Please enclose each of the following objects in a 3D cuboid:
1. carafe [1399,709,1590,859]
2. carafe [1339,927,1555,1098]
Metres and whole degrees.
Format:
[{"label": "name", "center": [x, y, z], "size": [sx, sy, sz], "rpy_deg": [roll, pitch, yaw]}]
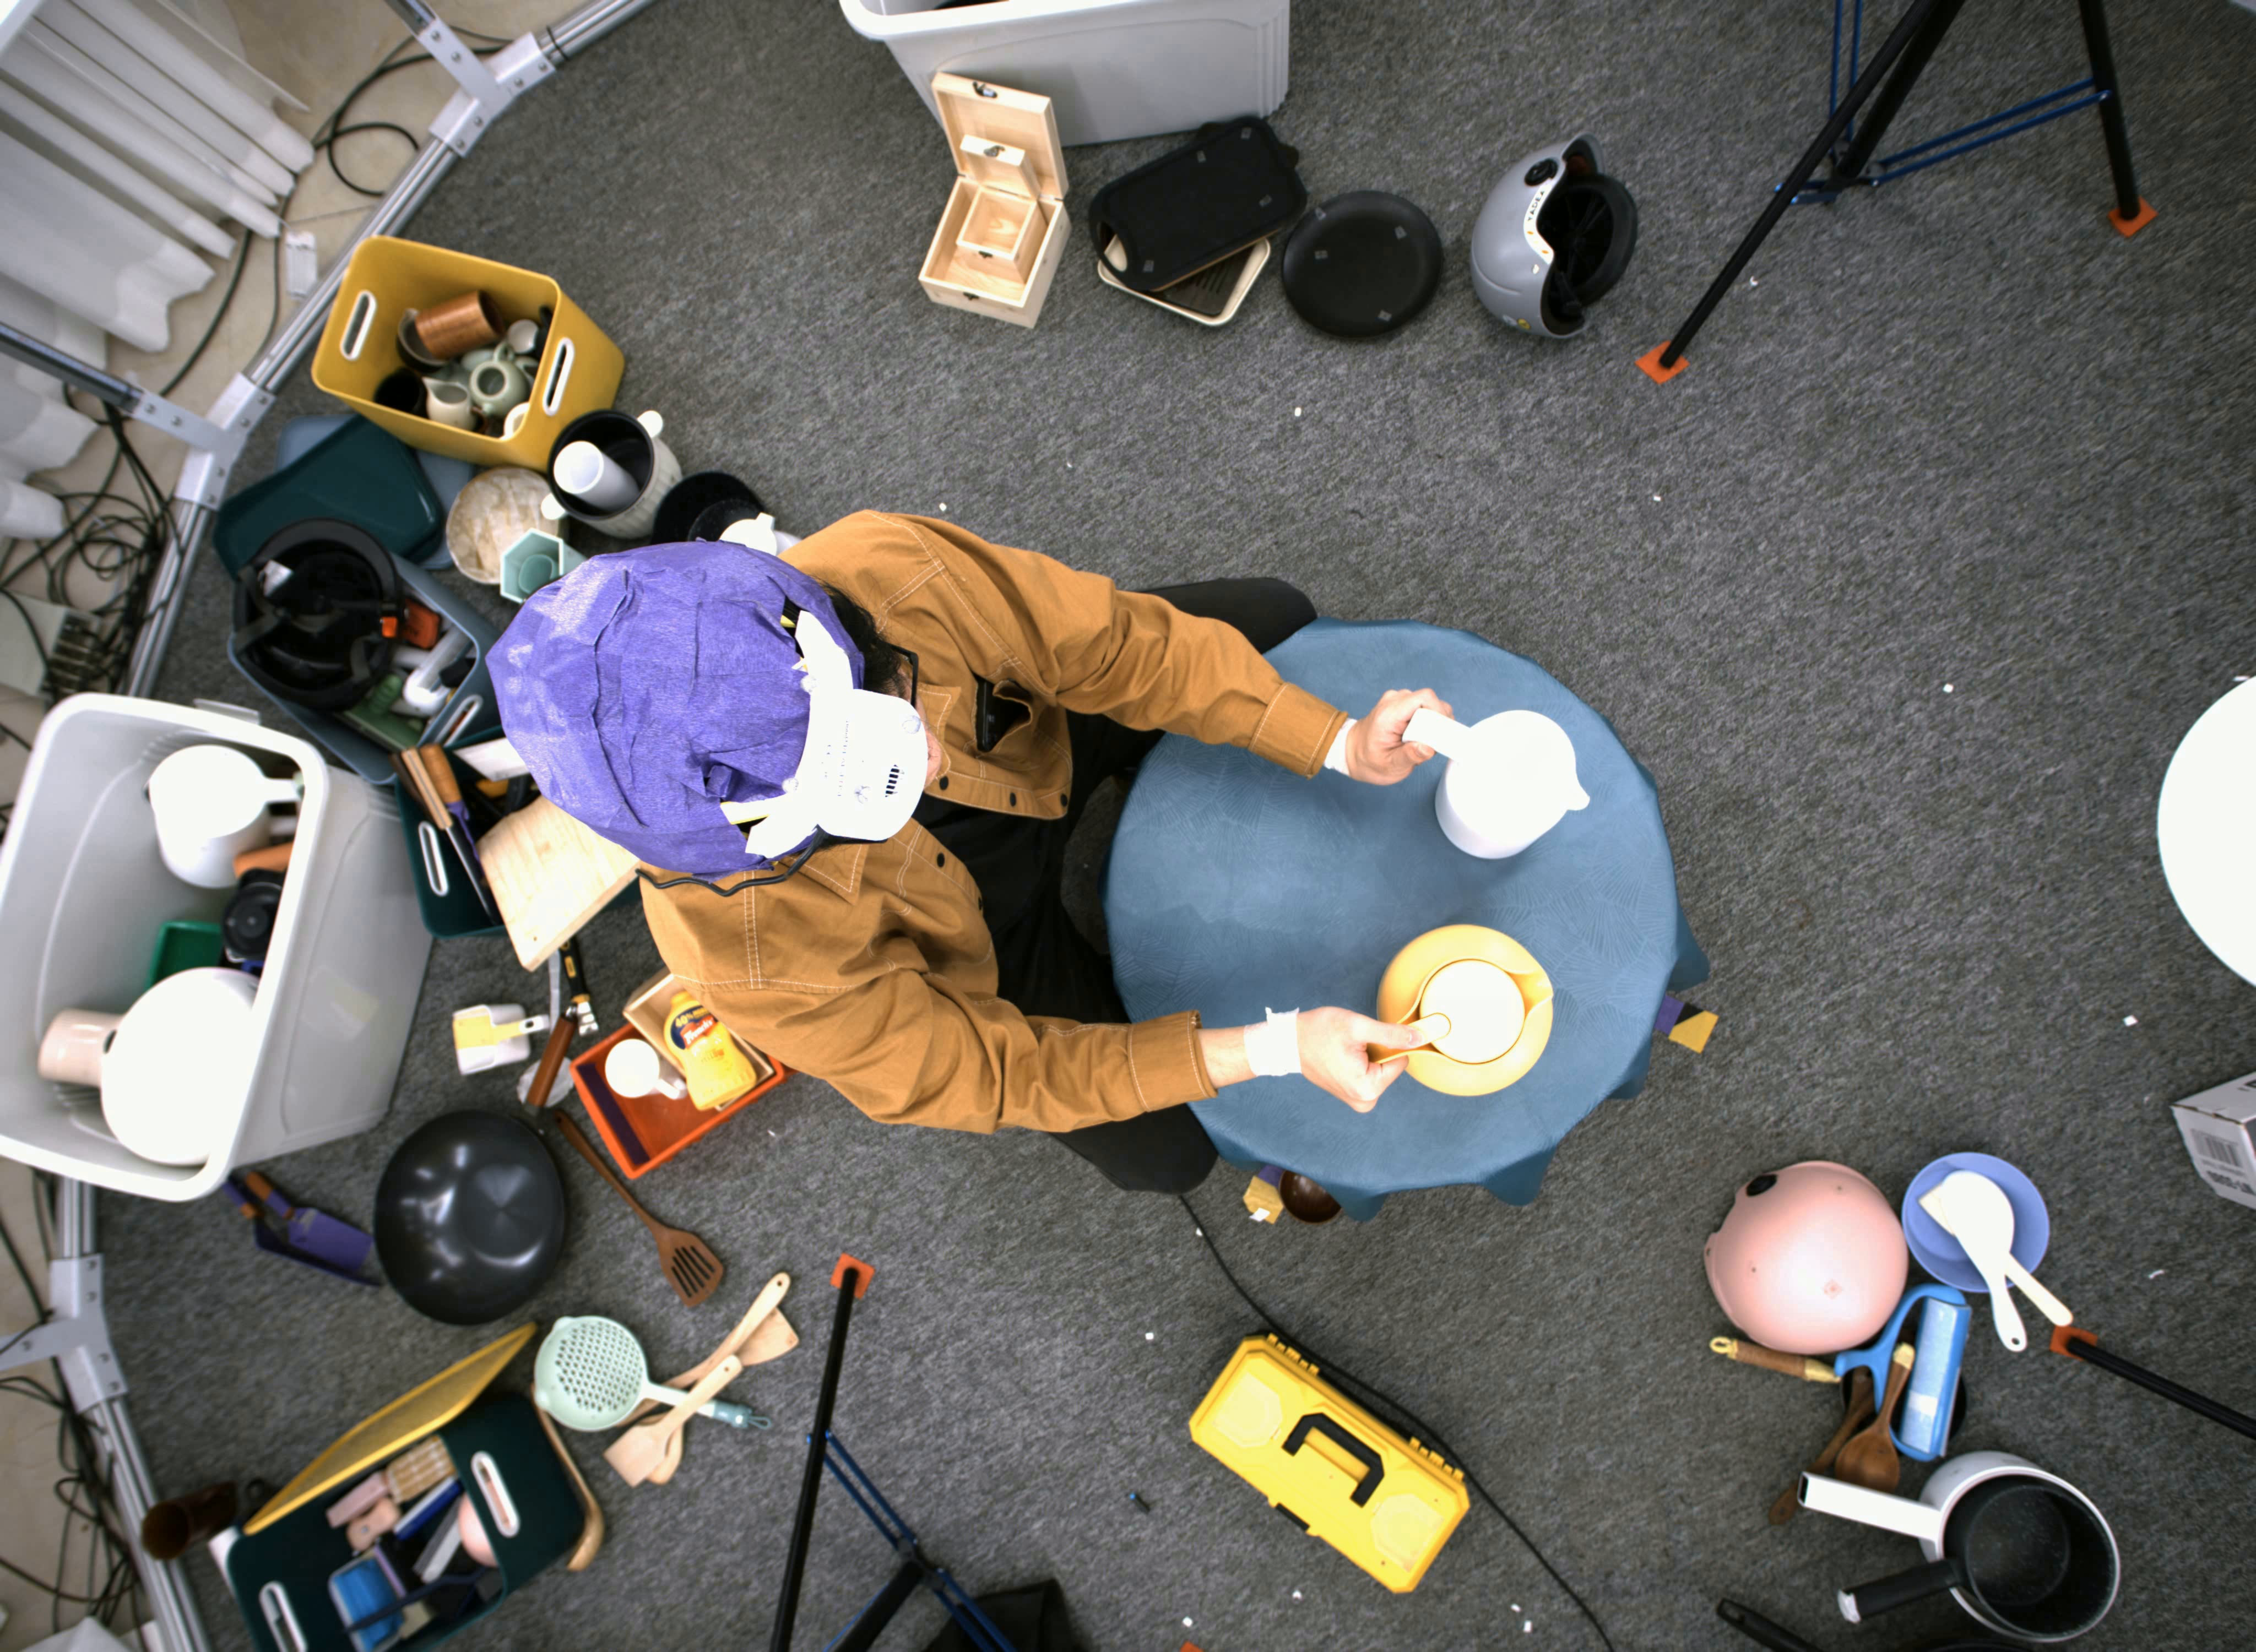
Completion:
[{"label": "carafe", "center": [0.343, -0.044, 1.317], "size": [0.172, 0.268, 0.124], "rpy_deg": [27, 92, 11]}, {"label": "carafe", "center": [0.301, 0.180, 1.317], "size": [0.203, 0.261, 0.162], "rpy_deg": [-20, 79, 7]}]
